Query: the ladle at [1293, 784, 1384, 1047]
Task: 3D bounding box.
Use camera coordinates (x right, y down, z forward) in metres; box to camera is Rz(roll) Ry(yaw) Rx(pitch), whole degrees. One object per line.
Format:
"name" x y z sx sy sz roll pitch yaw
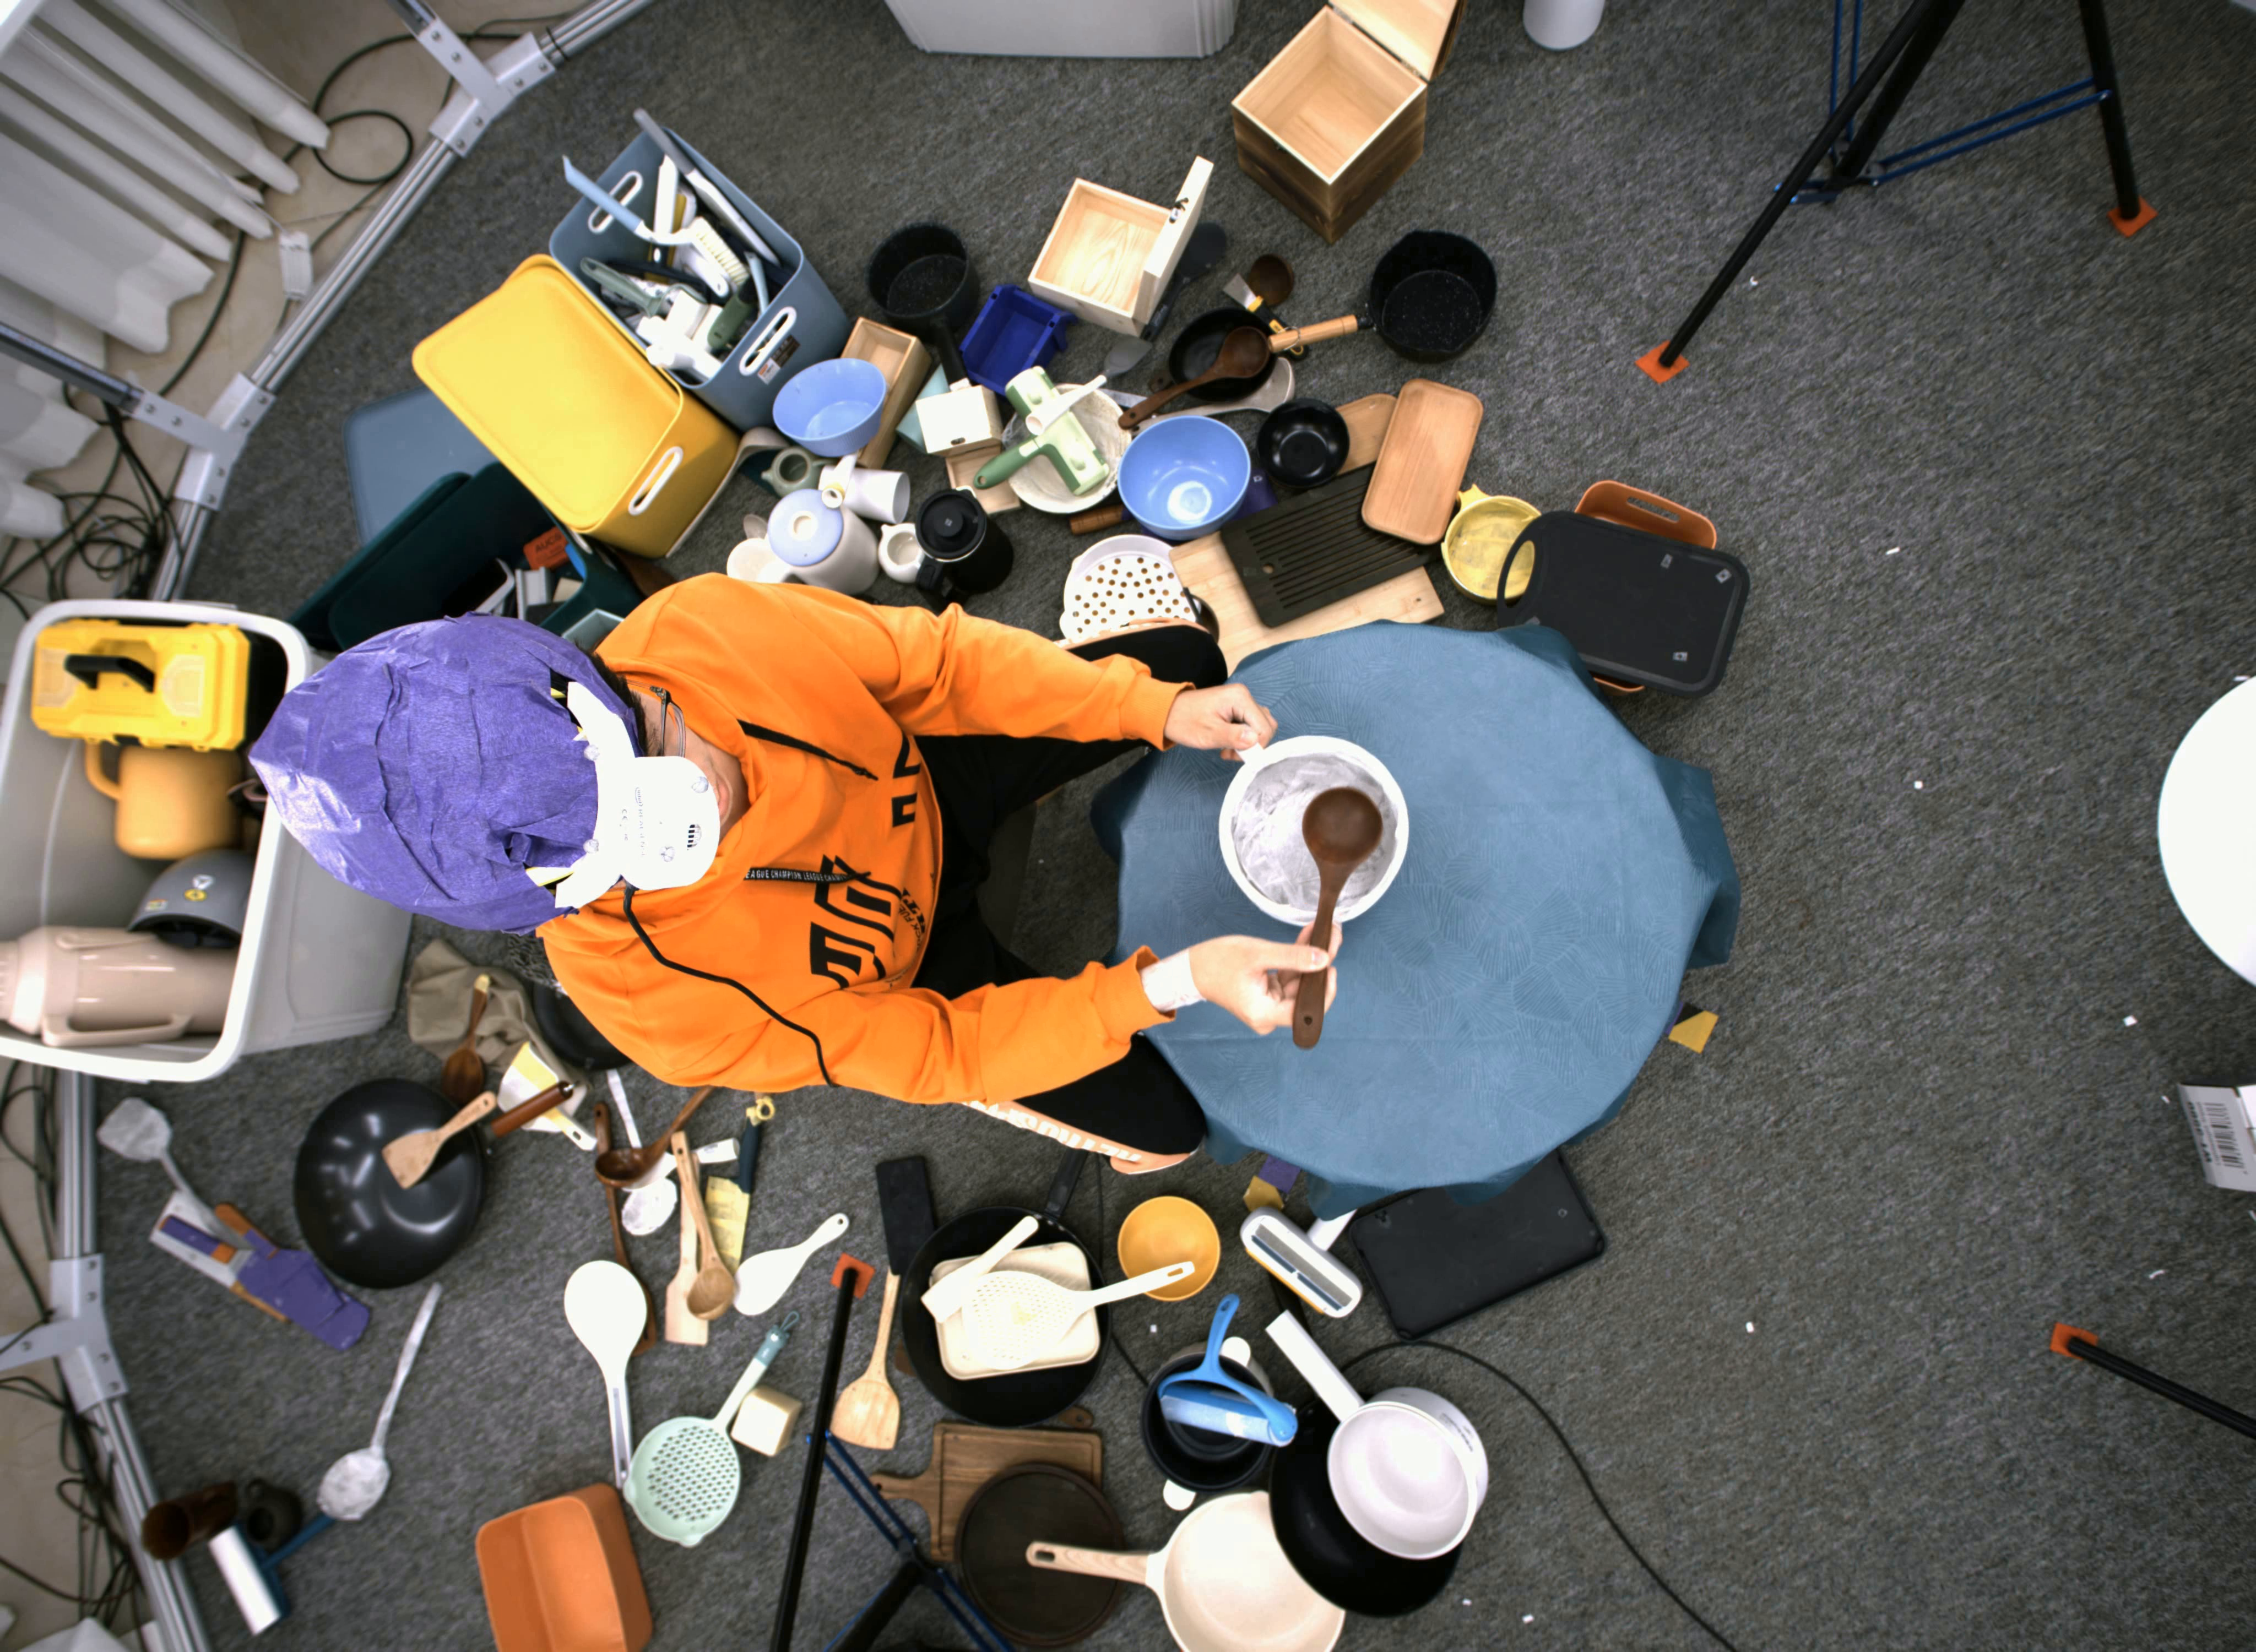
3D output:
"ladle" 0.177 0.072 1.232 0.077 0.066 0.253 4 52 19

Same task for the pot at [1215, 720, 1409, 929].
"pot" 0.164 -0.011 1.360 0.179 0.137 0.232 -39 82 3
